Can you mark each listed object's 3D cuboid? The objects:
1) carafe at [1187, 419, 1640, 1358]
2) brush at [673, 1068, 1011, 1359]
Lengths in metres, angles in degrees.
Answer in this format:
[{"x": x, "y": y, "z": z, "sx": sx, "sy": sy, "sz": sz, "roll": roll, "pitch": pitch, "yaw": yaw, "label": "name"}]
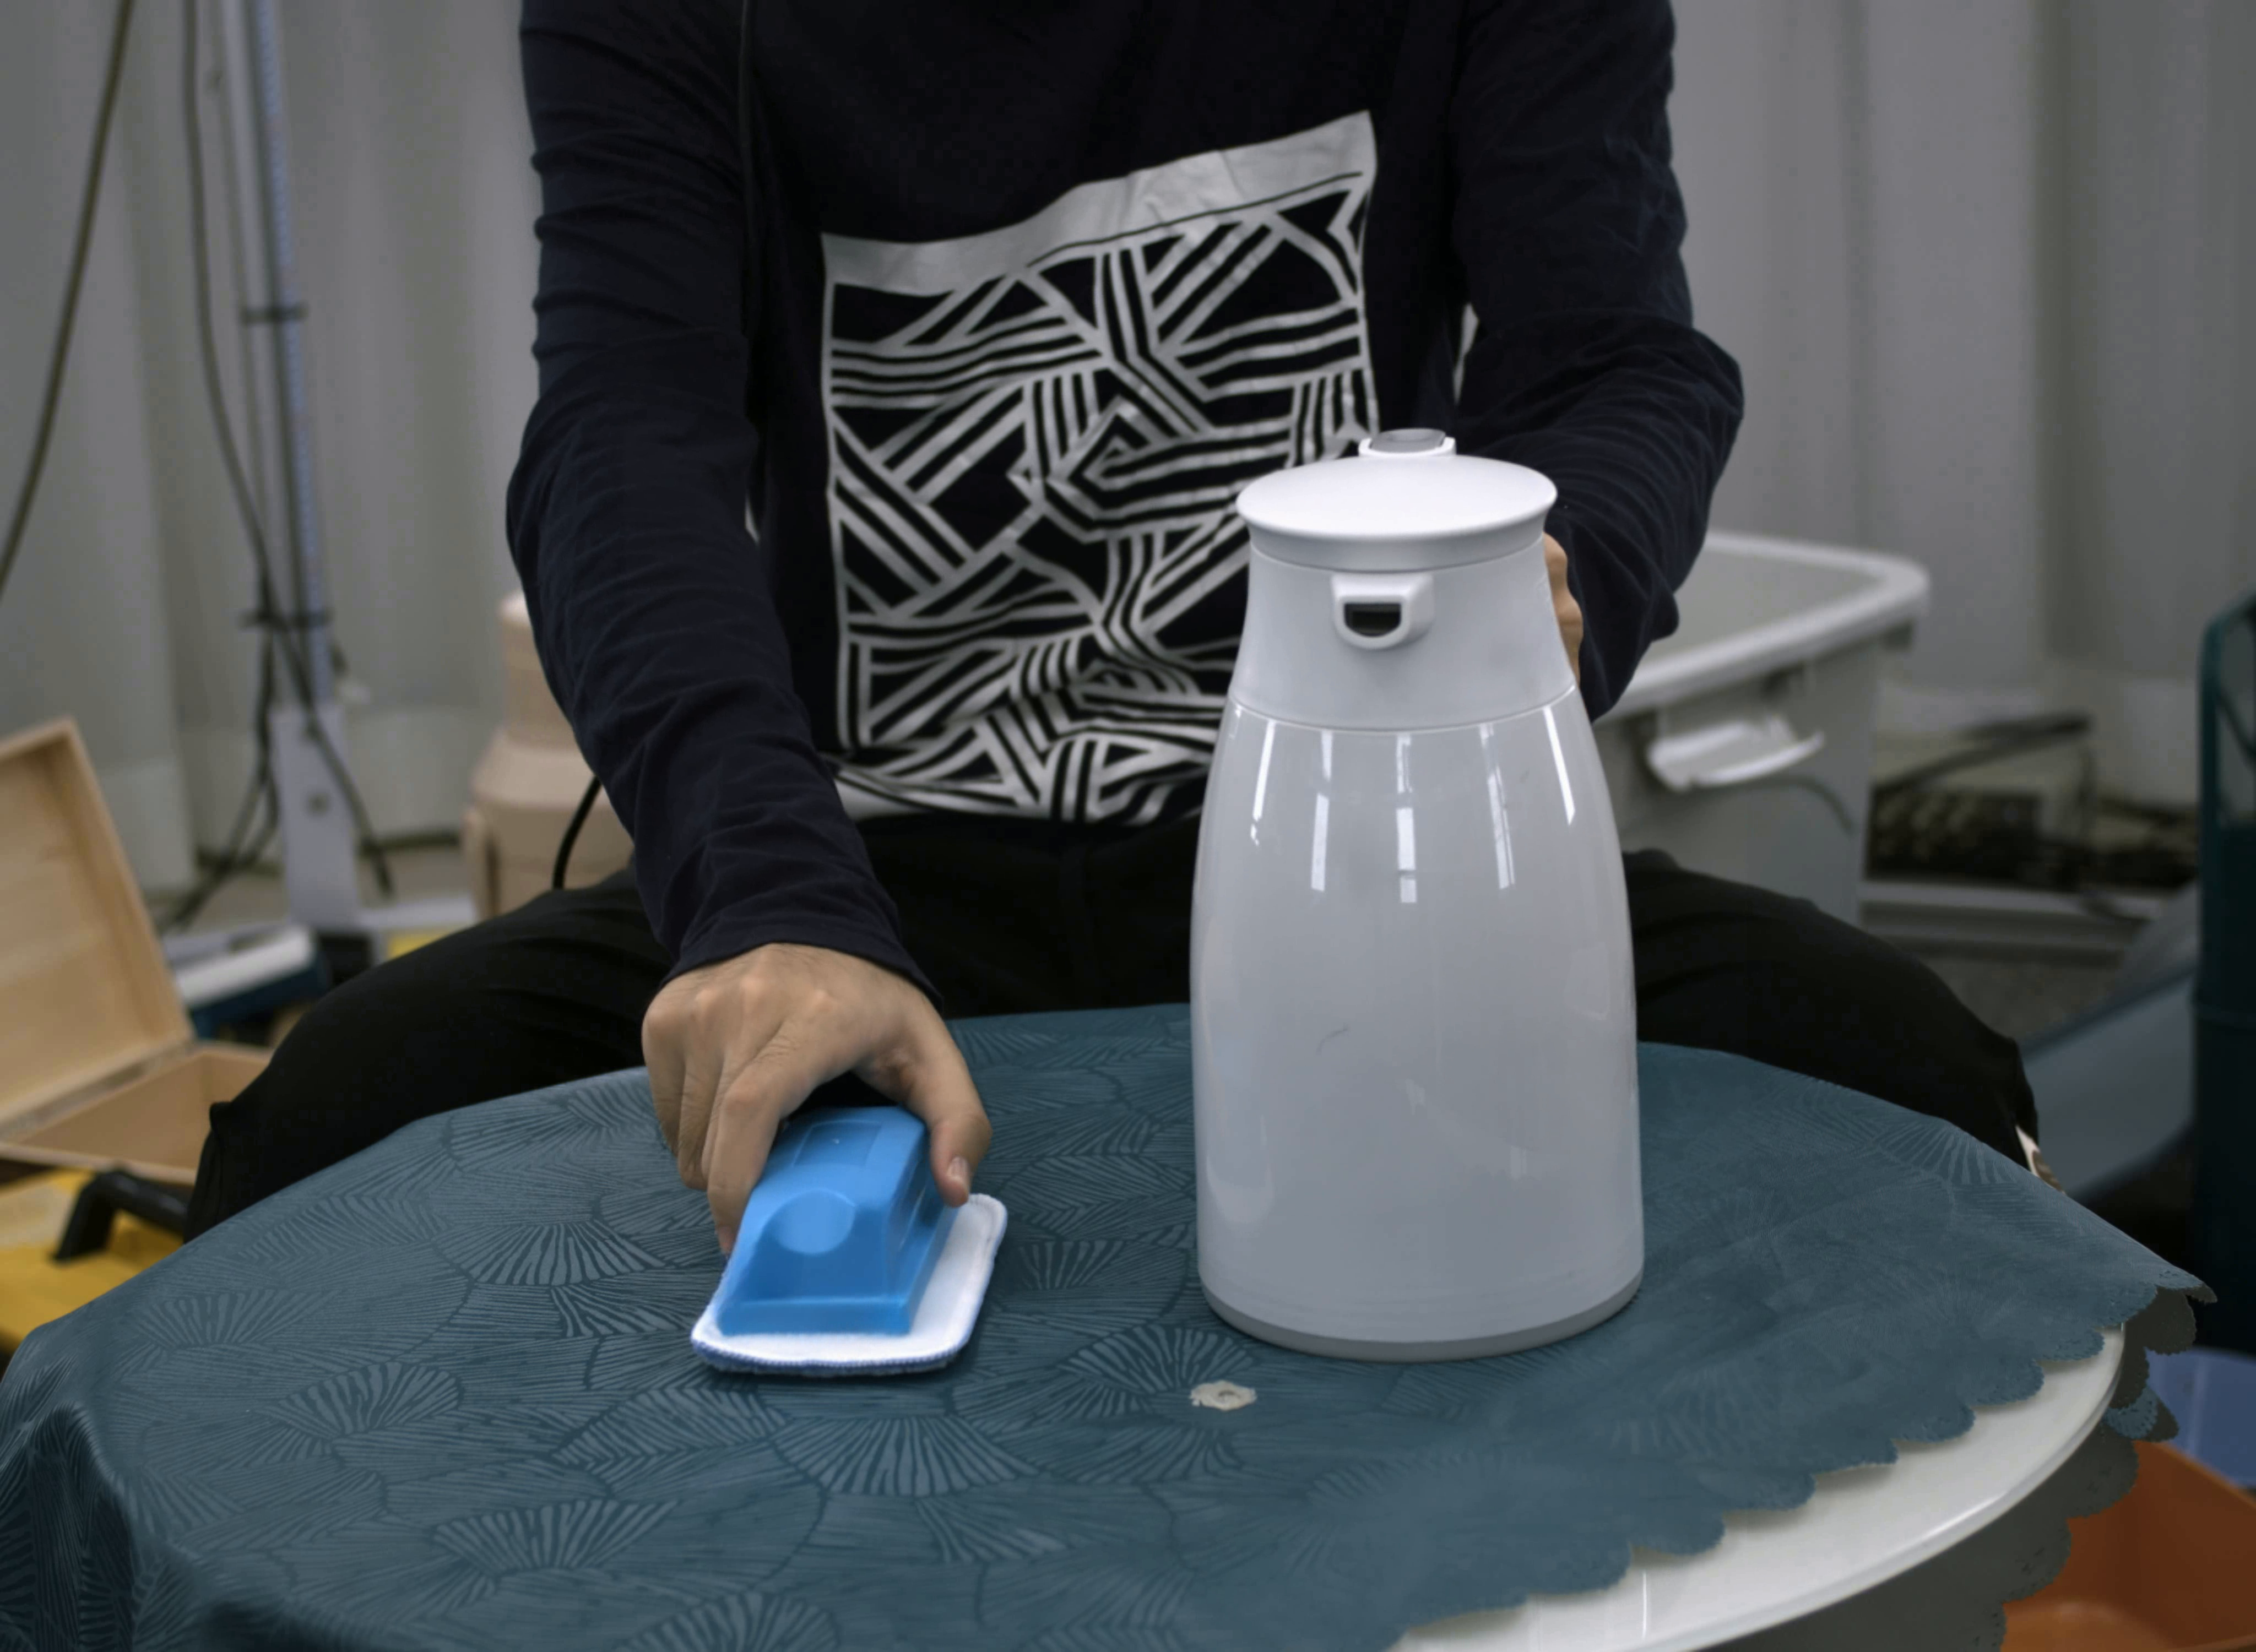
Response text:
[{"x": 0.082, "y": 0.009, "z": 1.601, "sx": 0.132, "sy": 0.247, "sz": 0.169, "roll": -1, "pitch": 16, "yaw": 7, "label": "carafe"}, {"x": -0.084, "y": 0.112, "z": 1.627, "sx": 0.084, "sy": 0.055, "sz": 0.145, "roll": 3, "pitch": 17, "yaw": 8, "label": "brush"}]
